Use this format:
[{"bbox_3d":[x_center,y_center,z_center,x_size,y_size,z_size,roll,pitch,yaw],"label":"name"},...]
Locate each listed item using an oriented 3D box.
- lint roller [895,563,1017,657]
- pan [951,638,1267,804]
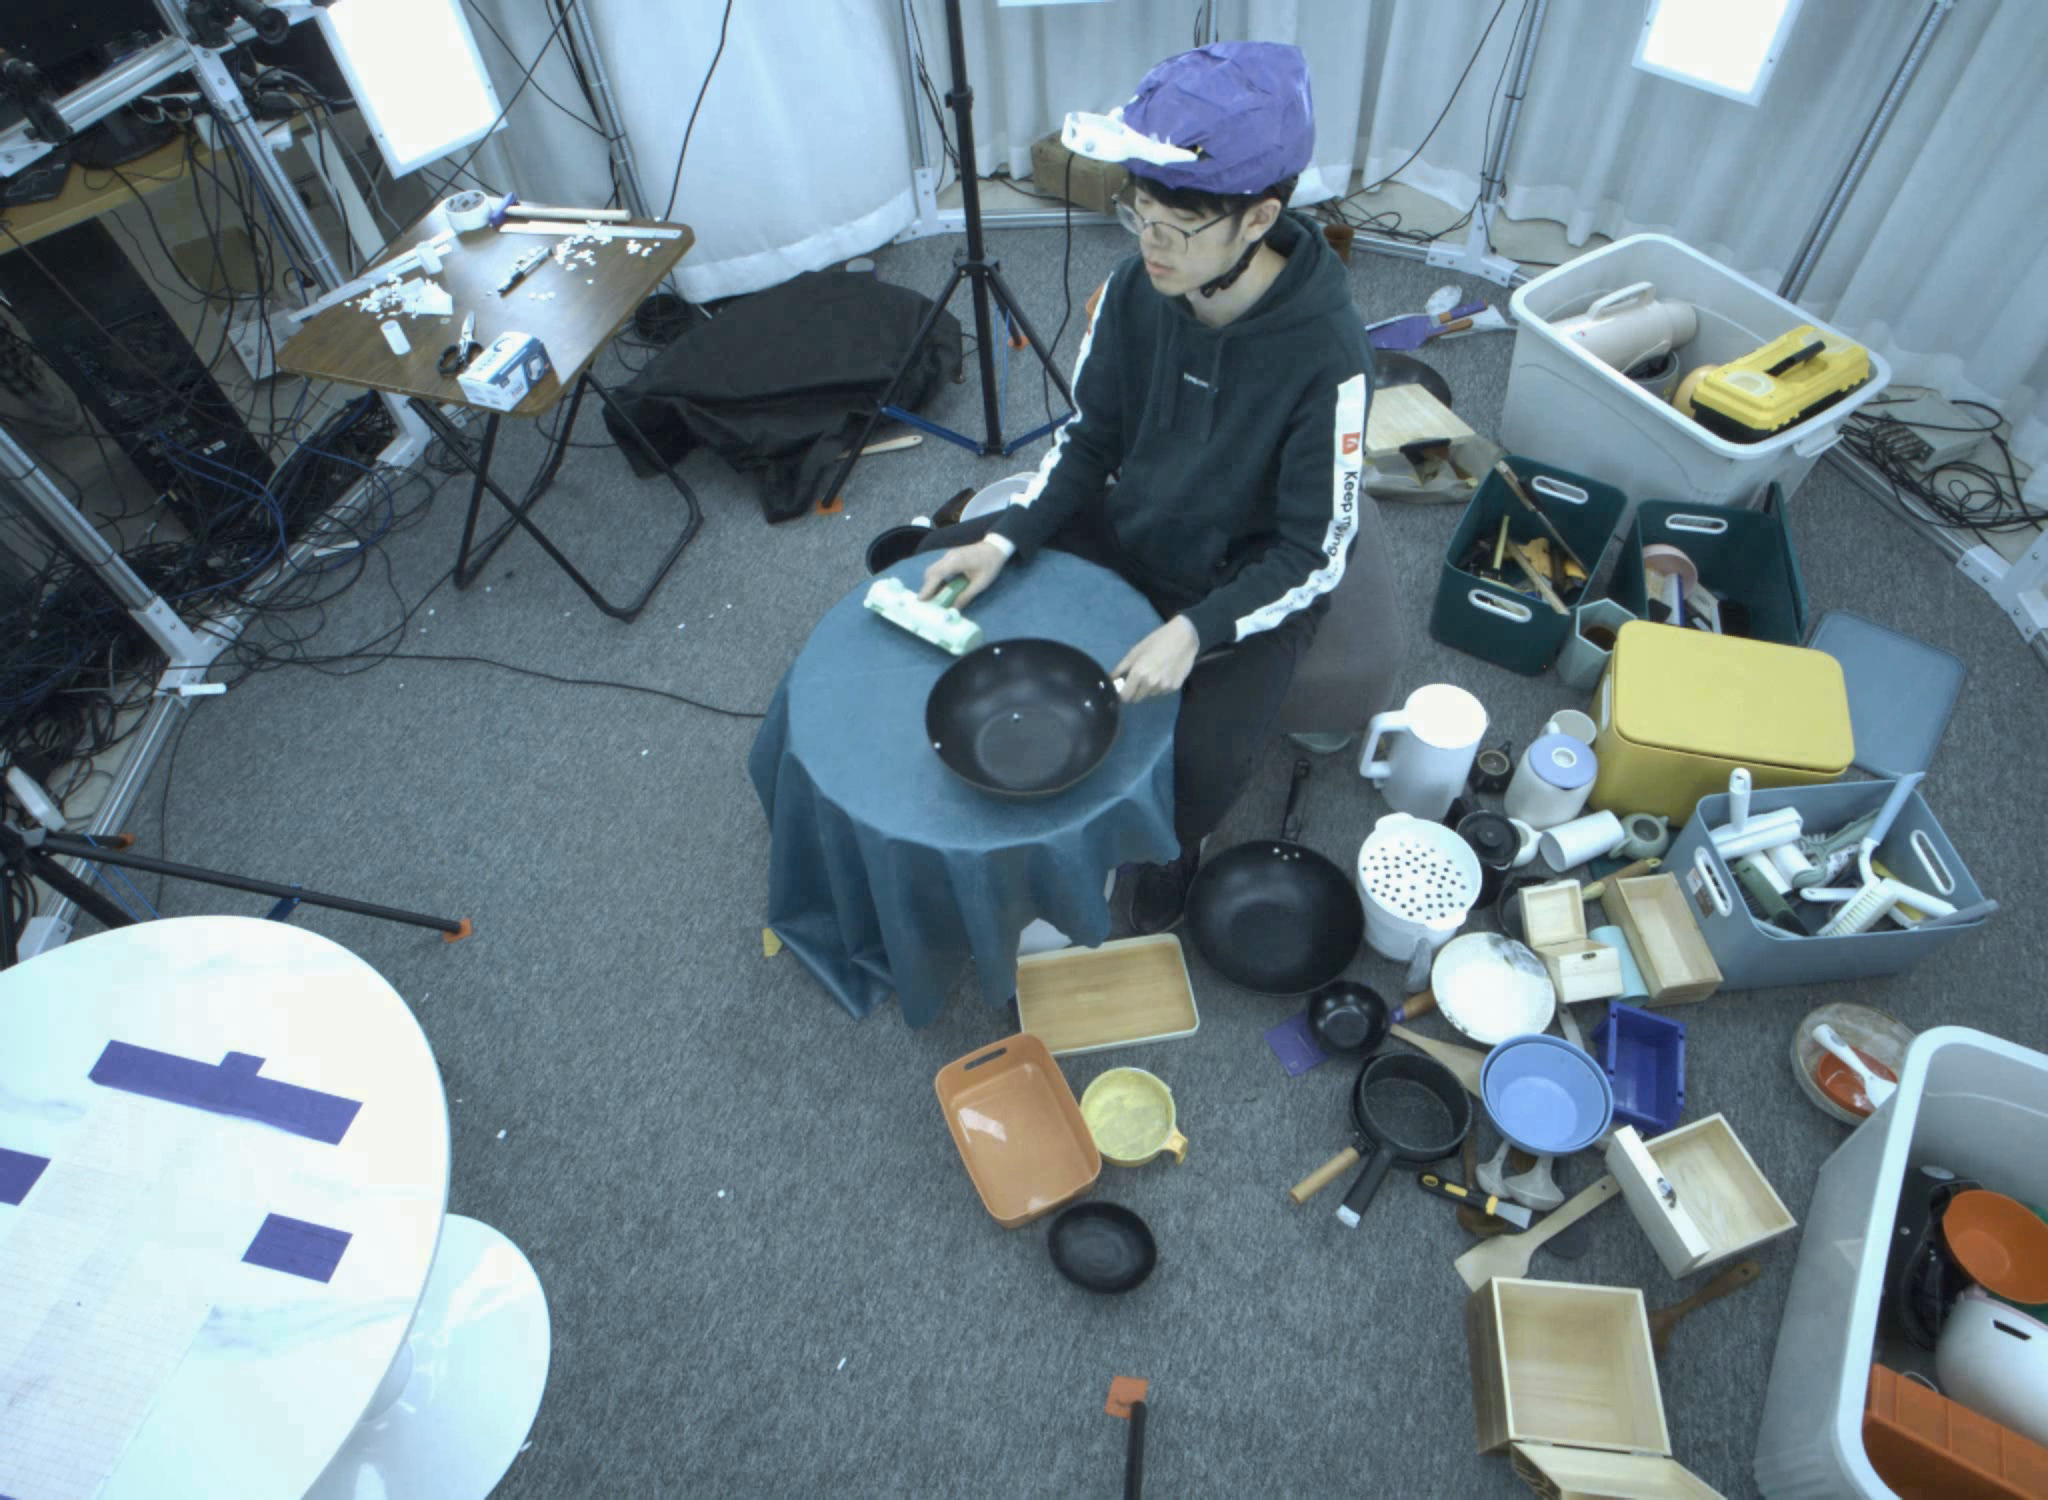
[{"bbox_3d":[-0.075,-0.249,1.915,0.195,0.083,0.184,31,67,22],"label":"lint roller"},{"bbox_3d":[0.125,-0.053,1.765,0.466,0.088,0.283,-16,56,-11],"label":"pan"}]
